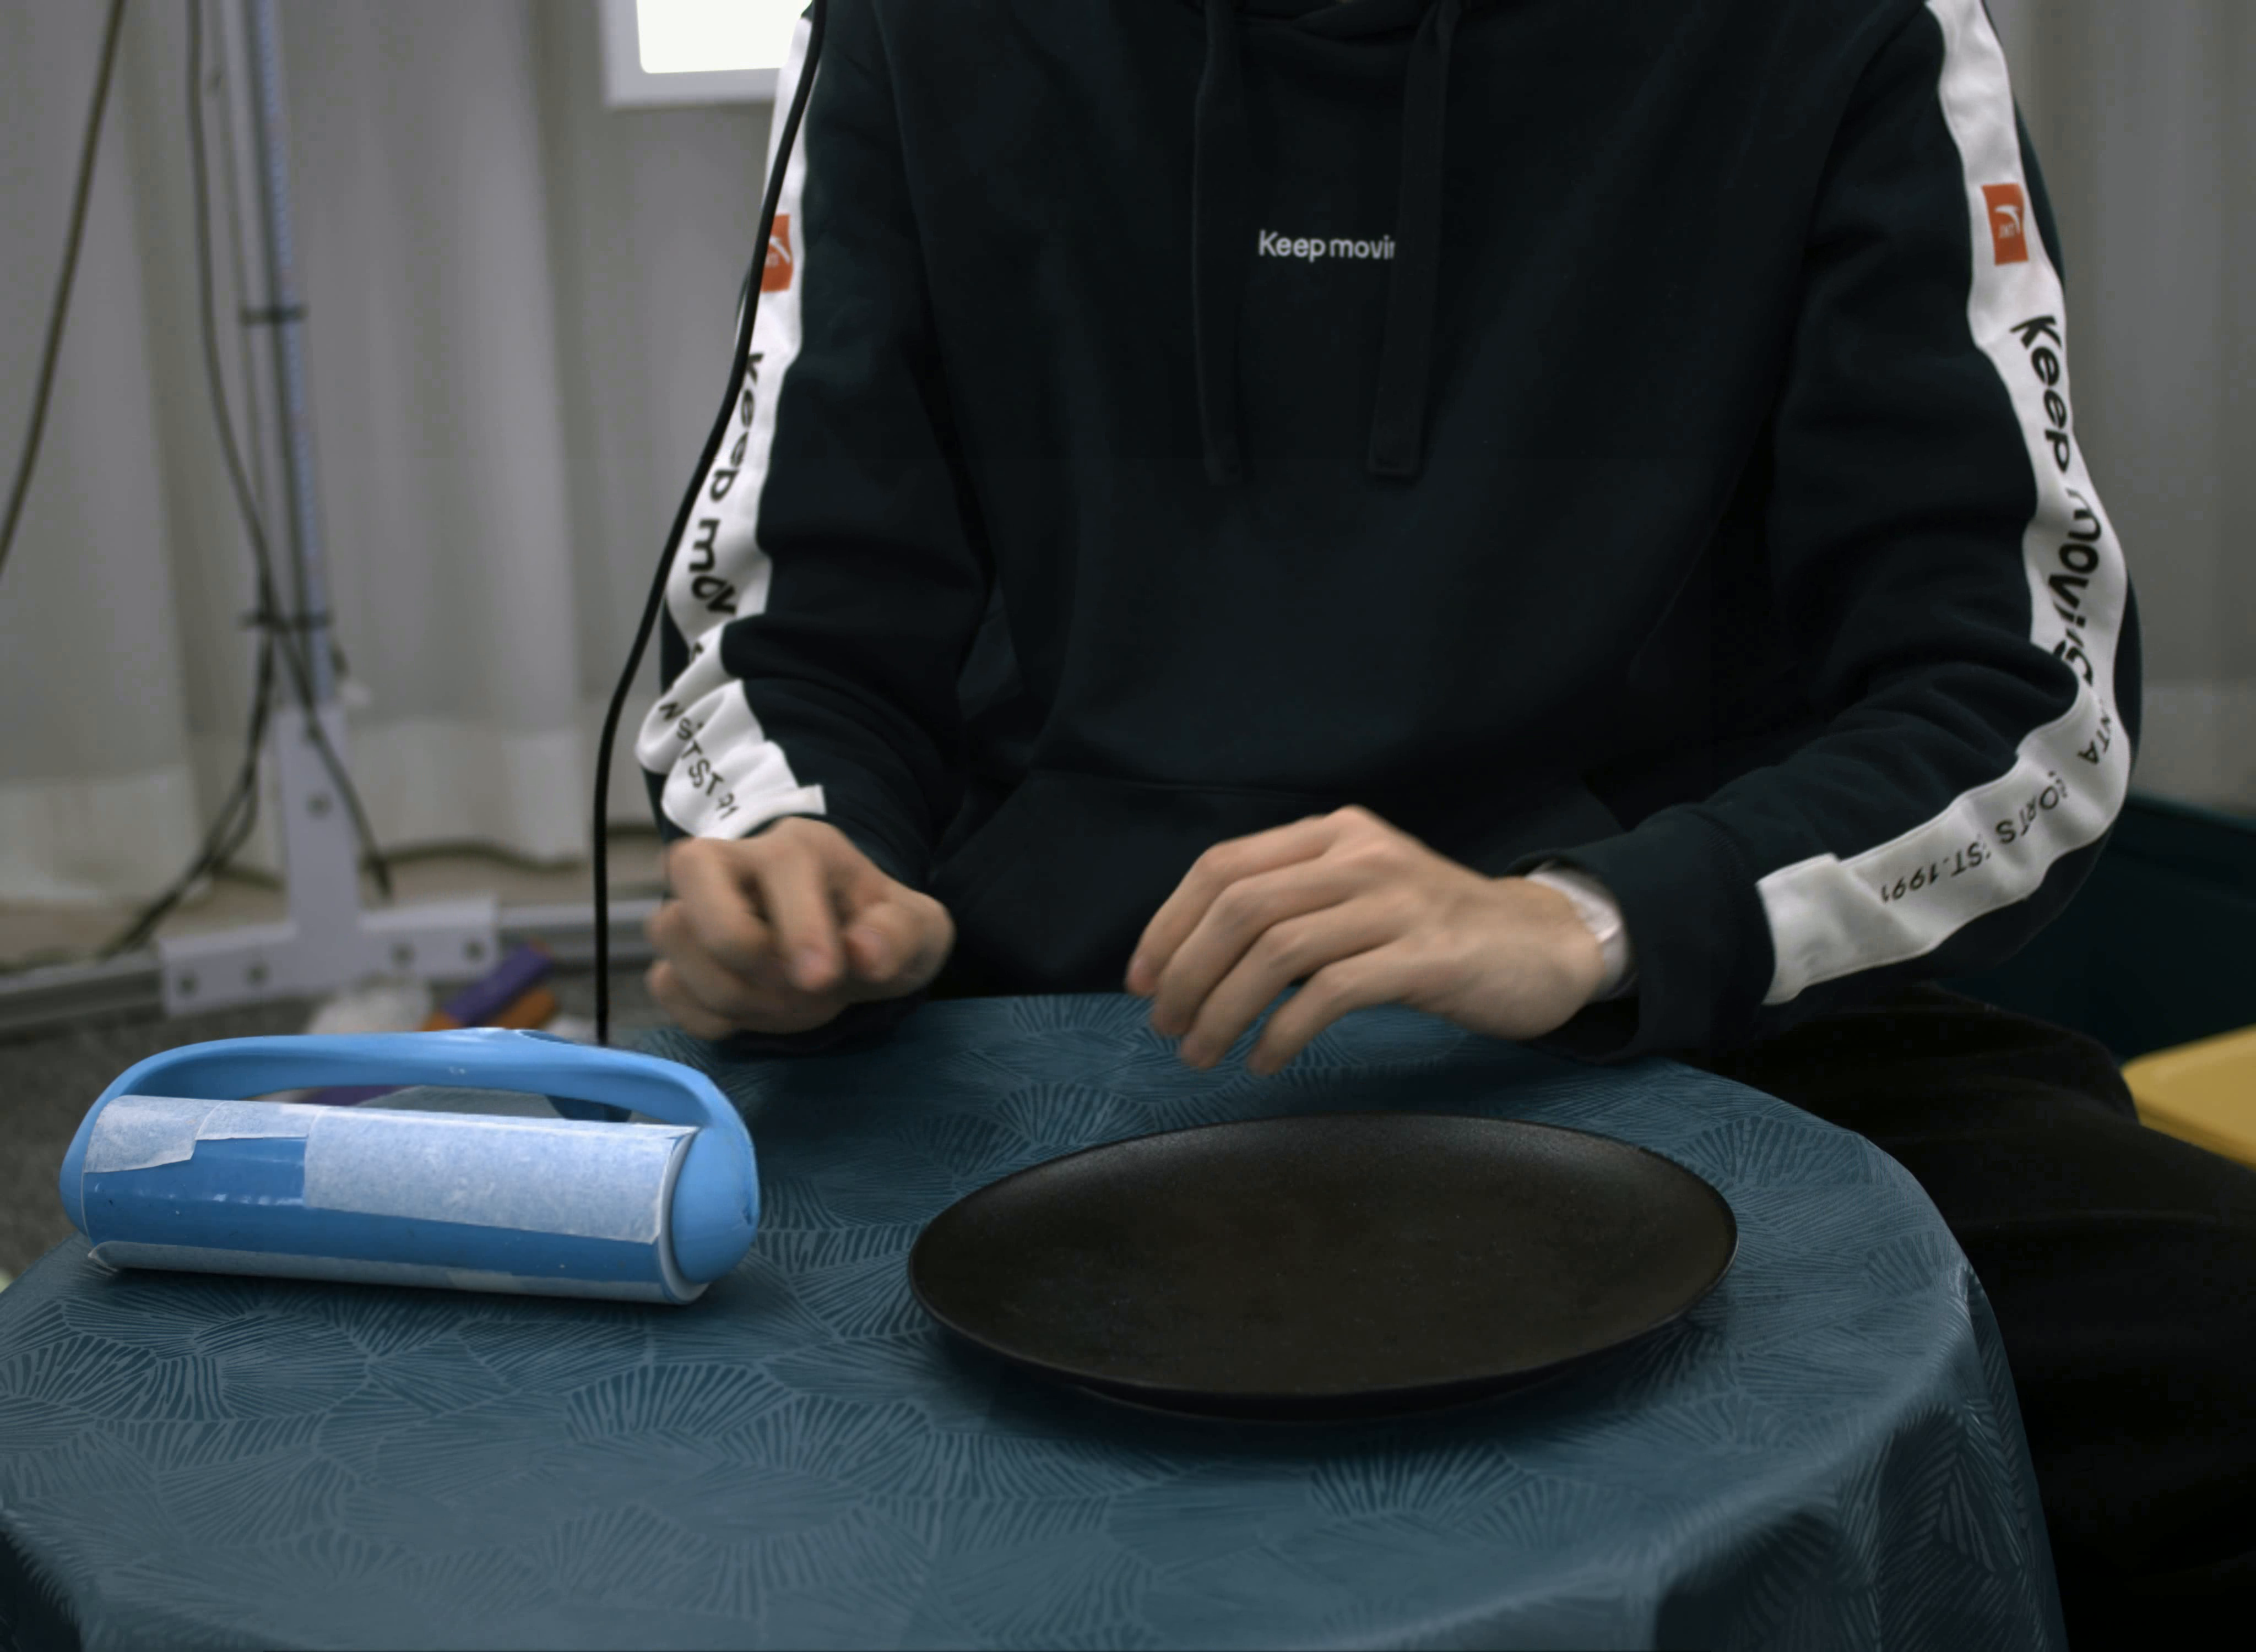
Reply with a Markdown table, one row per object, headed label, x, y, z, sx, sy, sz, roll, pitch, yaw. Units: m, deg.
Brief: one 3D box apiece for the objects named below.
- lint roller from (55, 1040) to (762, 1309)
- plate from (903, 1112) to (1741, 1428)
| label | x | y | z | sx | sy | sz | roll | pitch | yaw |
| --- | --- | --- | --- | --- | --- | --- | --- | --- | --- |
| lint roller | -0.204 | 0.097 | 1.713 | 0.229 | 0.067 | 0.181 | 0 | 15 | 16 |
| plate | 0.057 | 0.132 | 1.594 | 0.243 | 0.023 | 0.246 | -3 | 15 | 0 |
